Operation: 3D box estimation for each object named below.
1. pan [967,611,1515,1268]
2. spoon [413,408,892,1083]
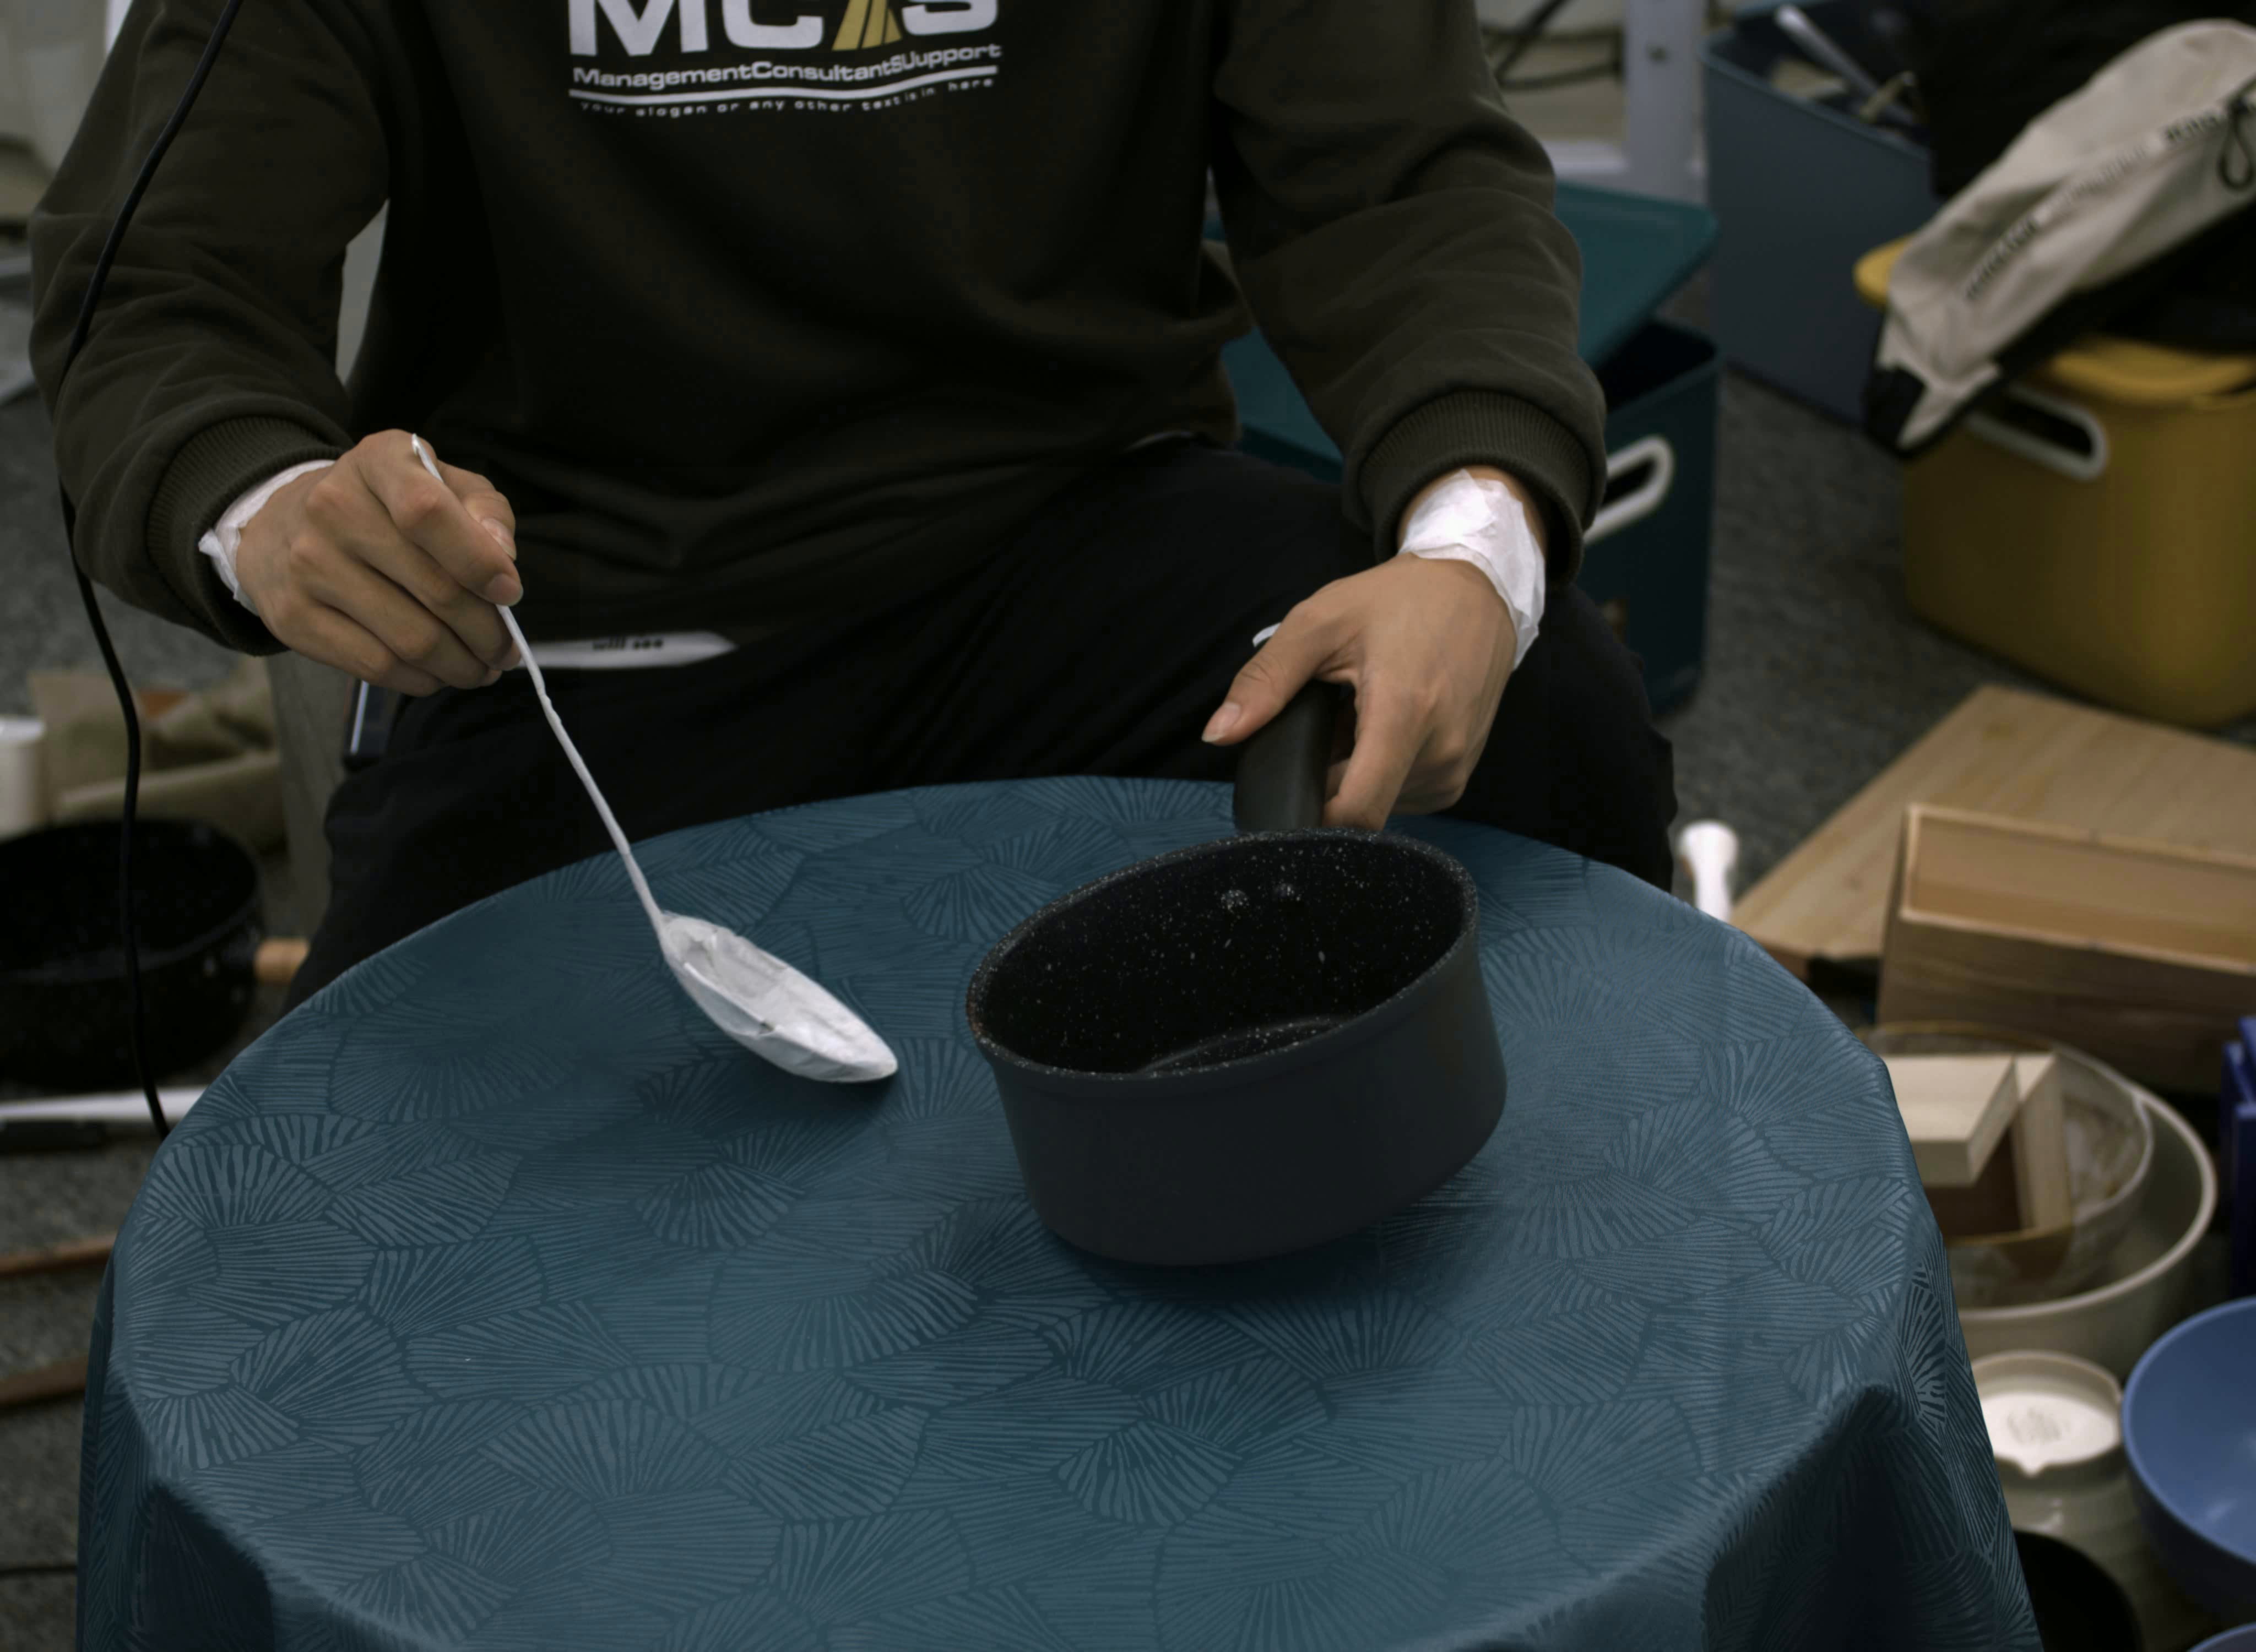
[{"bbox_3d":[0.052,0.035,1.904,0.170,0.086,0.334,-7,25,15],"label":"pan"},{"bbox_3d":[-0.159,-0.027,1.898,0.059,0.276,0.101,-25,18,-5],"label":"spoon"}]
